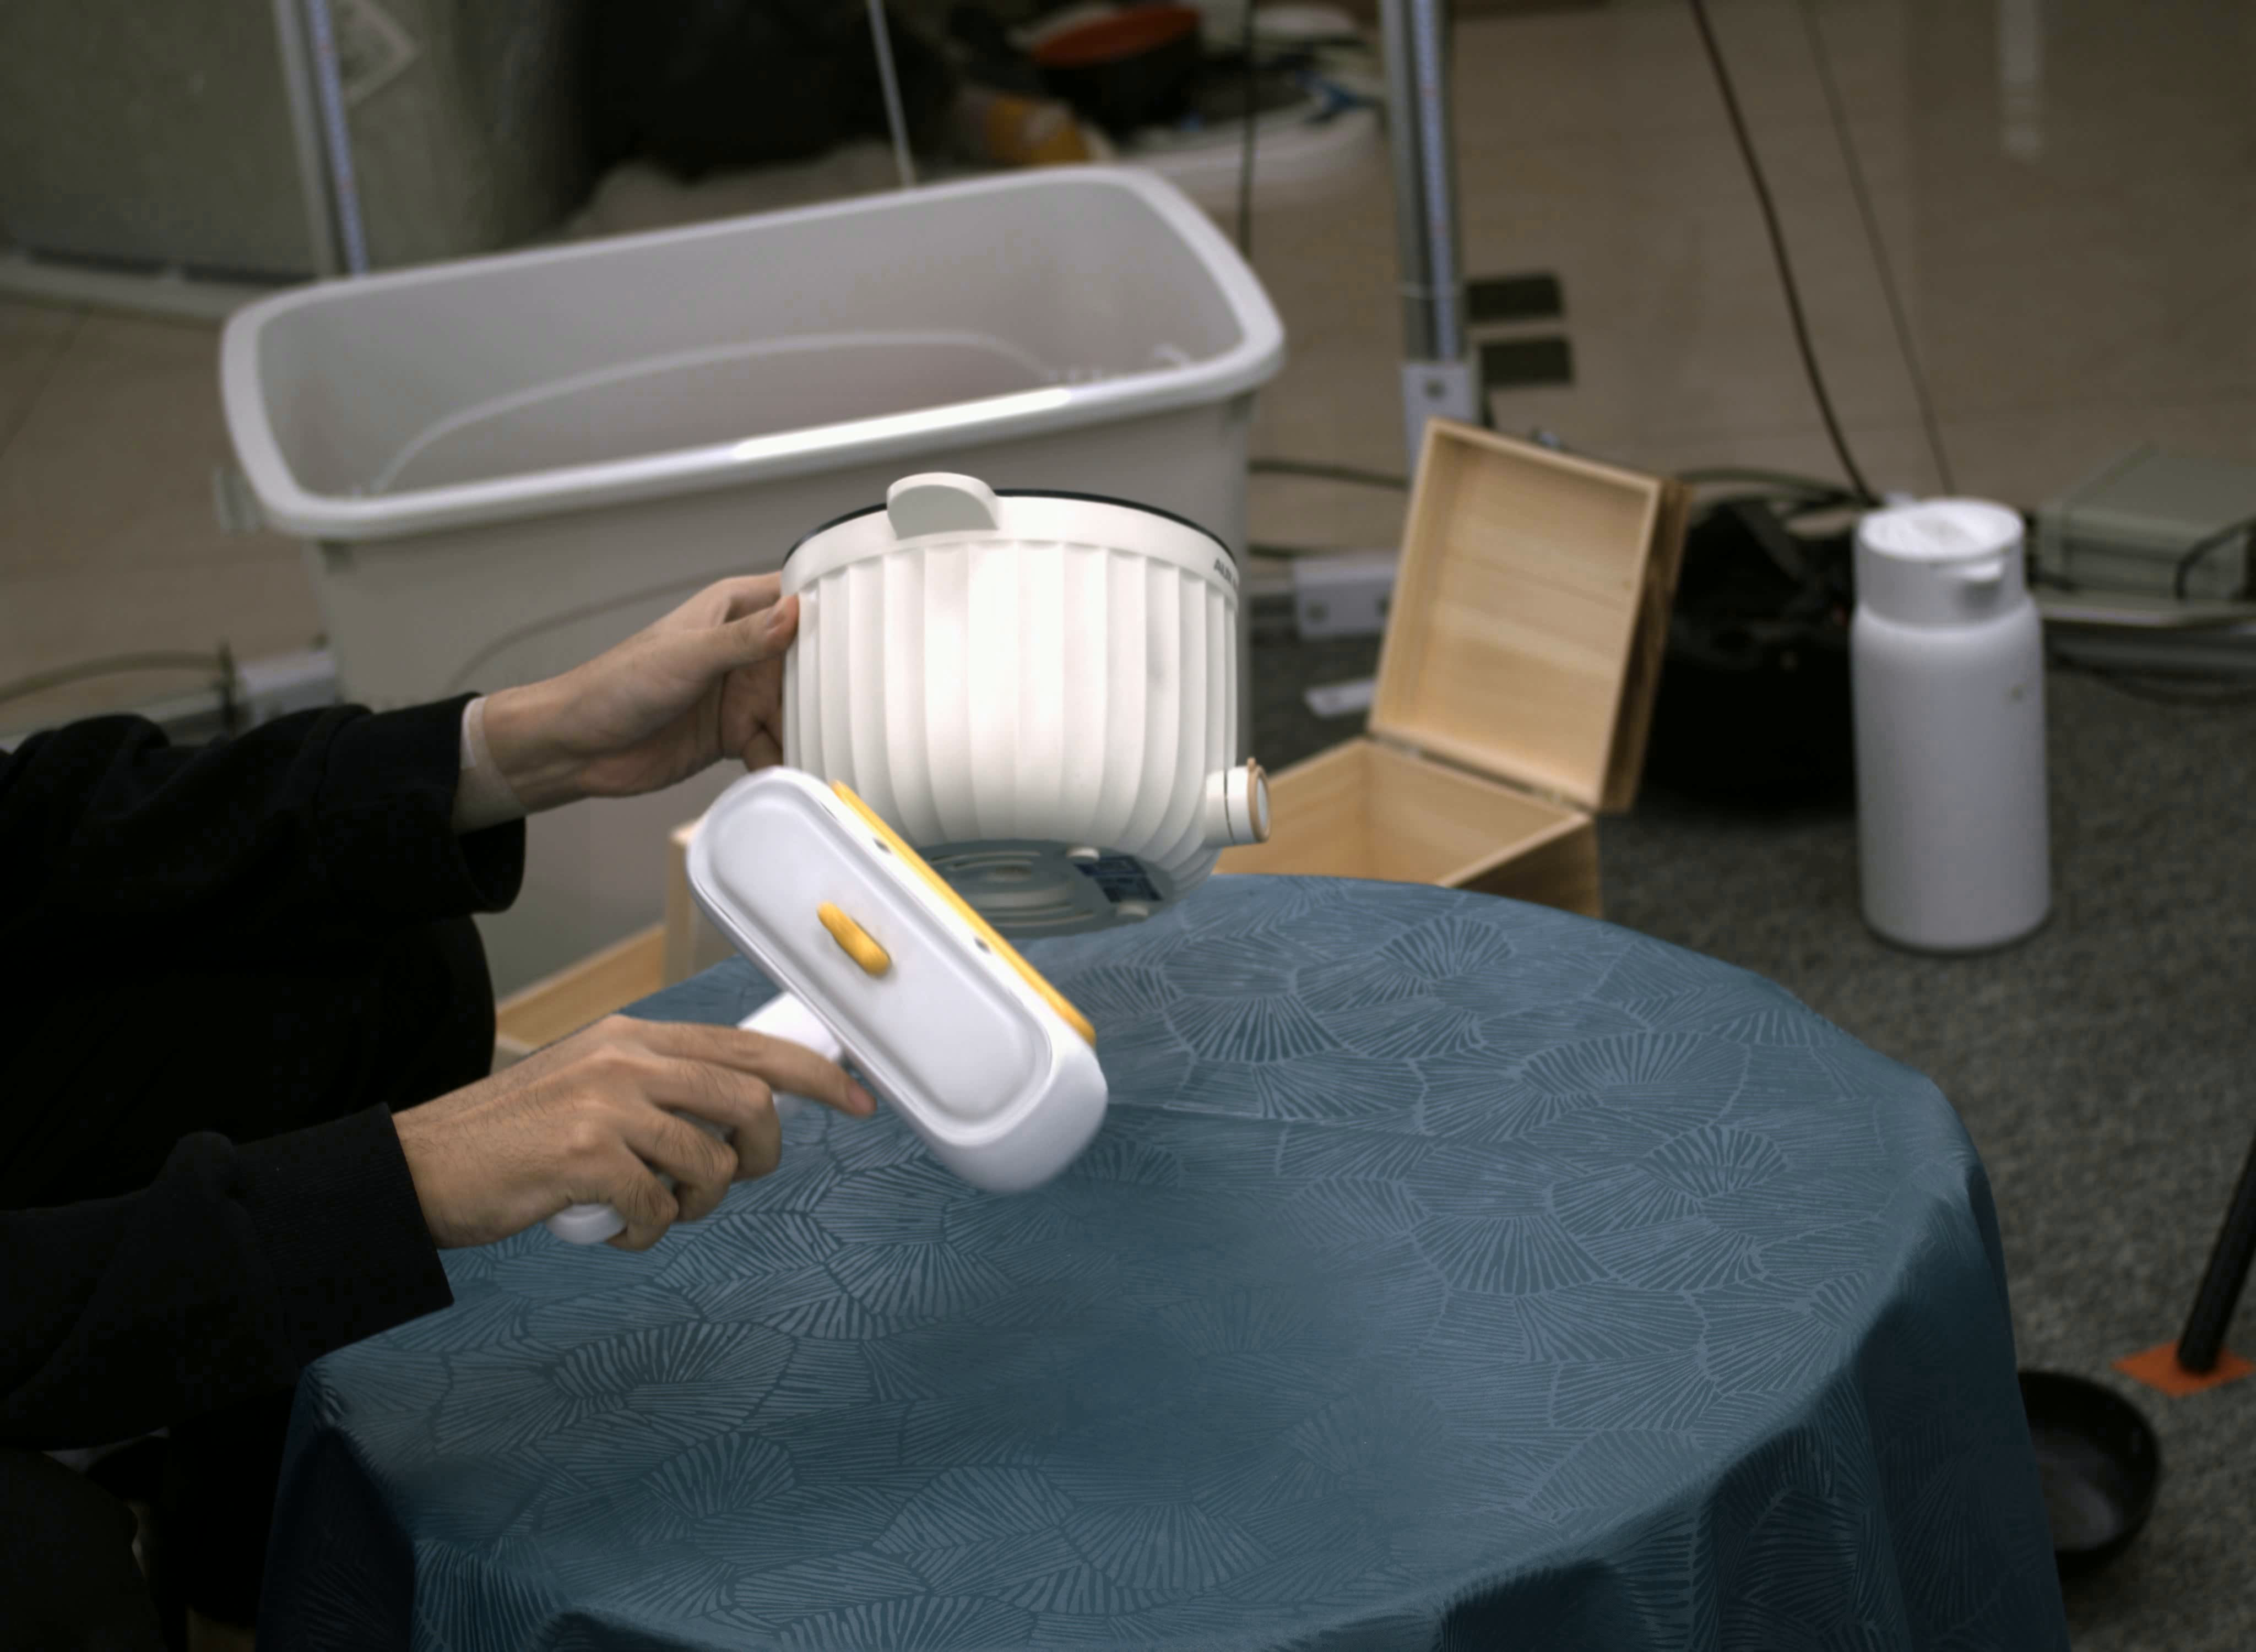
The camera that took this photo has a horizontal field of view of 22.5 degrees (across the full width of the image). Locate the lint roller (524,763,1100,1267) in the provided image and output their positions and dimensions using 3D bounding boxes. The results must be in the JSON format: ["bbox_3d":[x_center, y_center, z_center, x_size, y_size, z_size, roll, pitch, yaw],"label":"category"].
[{"bbox_3d":[-0.131,0.087,2.000,0.191,0.075,0.191,-43,67,-11],"label":"lint roller"}]

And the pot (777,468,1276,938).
[{"bbox_3d":[-0.040,-0.039,2.211,0.190,0.141,0.243,-8,-17,12],"label":"pot"}]
